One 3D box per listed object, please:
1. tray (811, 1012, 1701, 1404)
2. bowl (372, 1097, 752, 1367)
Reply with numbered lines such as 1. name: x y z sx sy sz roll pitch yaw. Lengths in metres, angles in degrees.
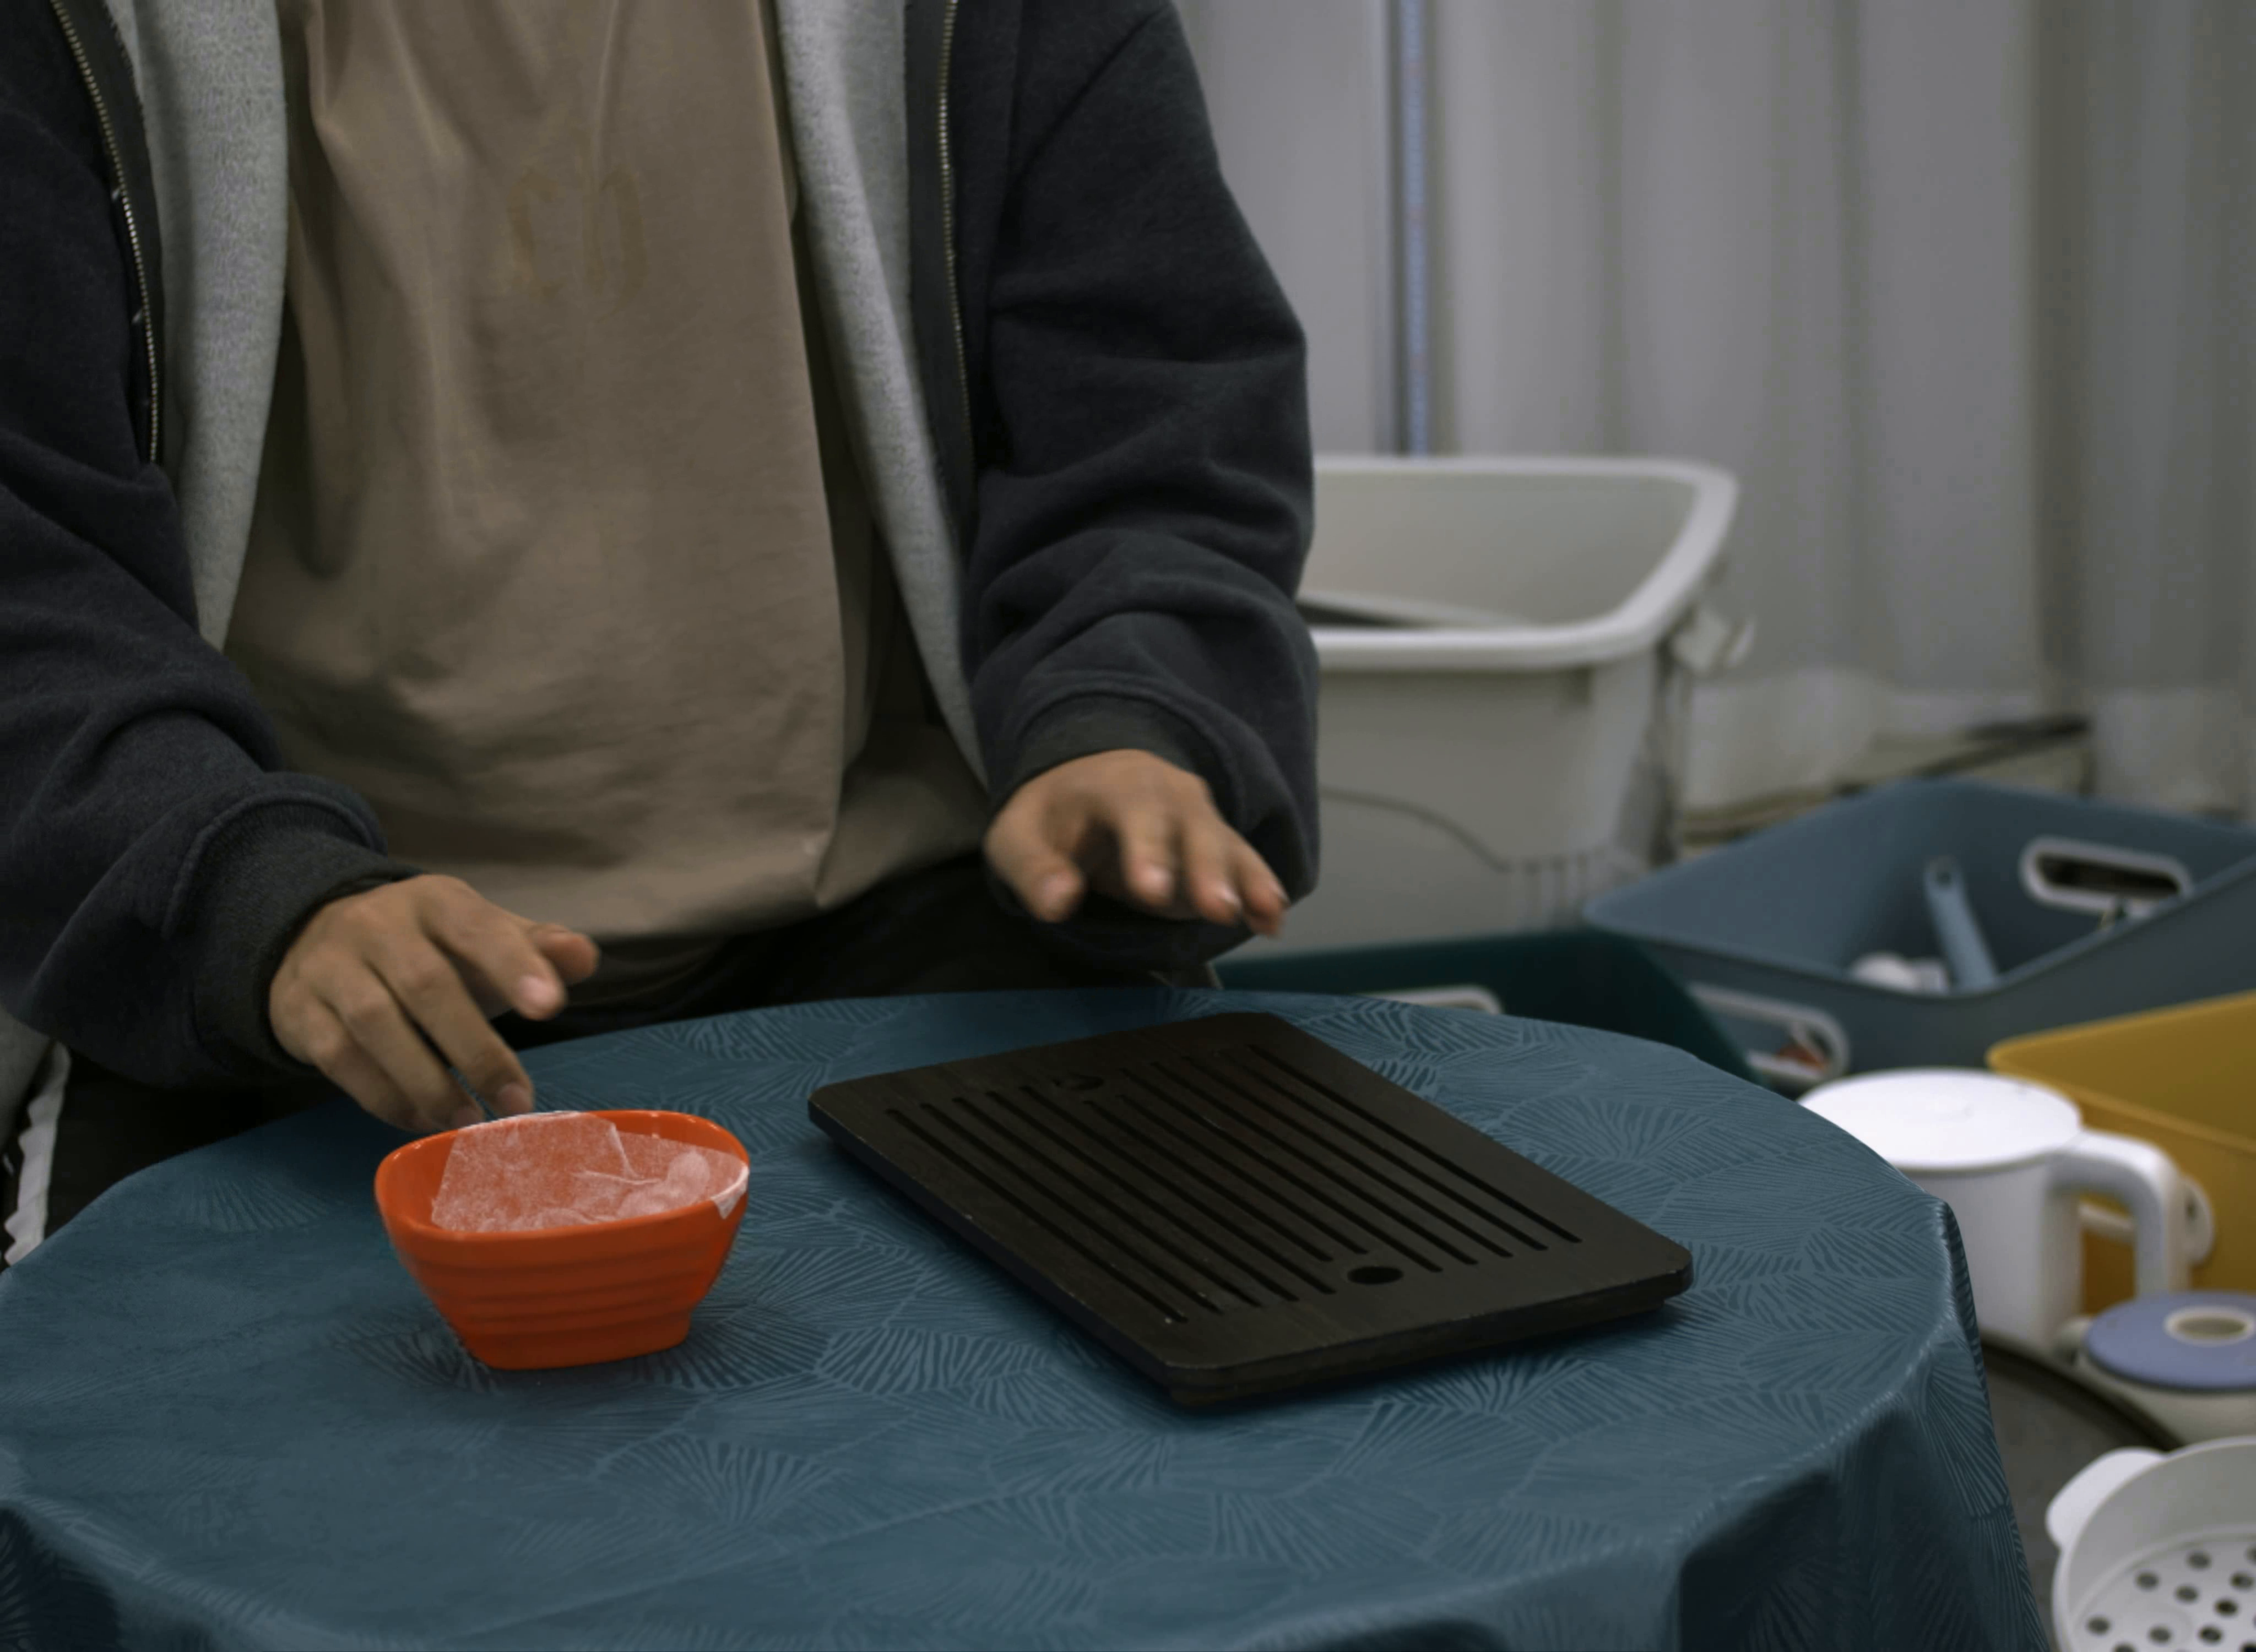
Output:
1. tray: 0.032 0.113 1.680 0.169 0.018 0.308 -9 16 -22
2. bowl: -0.165 0.122 1.614 0.118 0.051 0.120 -3 16 1
